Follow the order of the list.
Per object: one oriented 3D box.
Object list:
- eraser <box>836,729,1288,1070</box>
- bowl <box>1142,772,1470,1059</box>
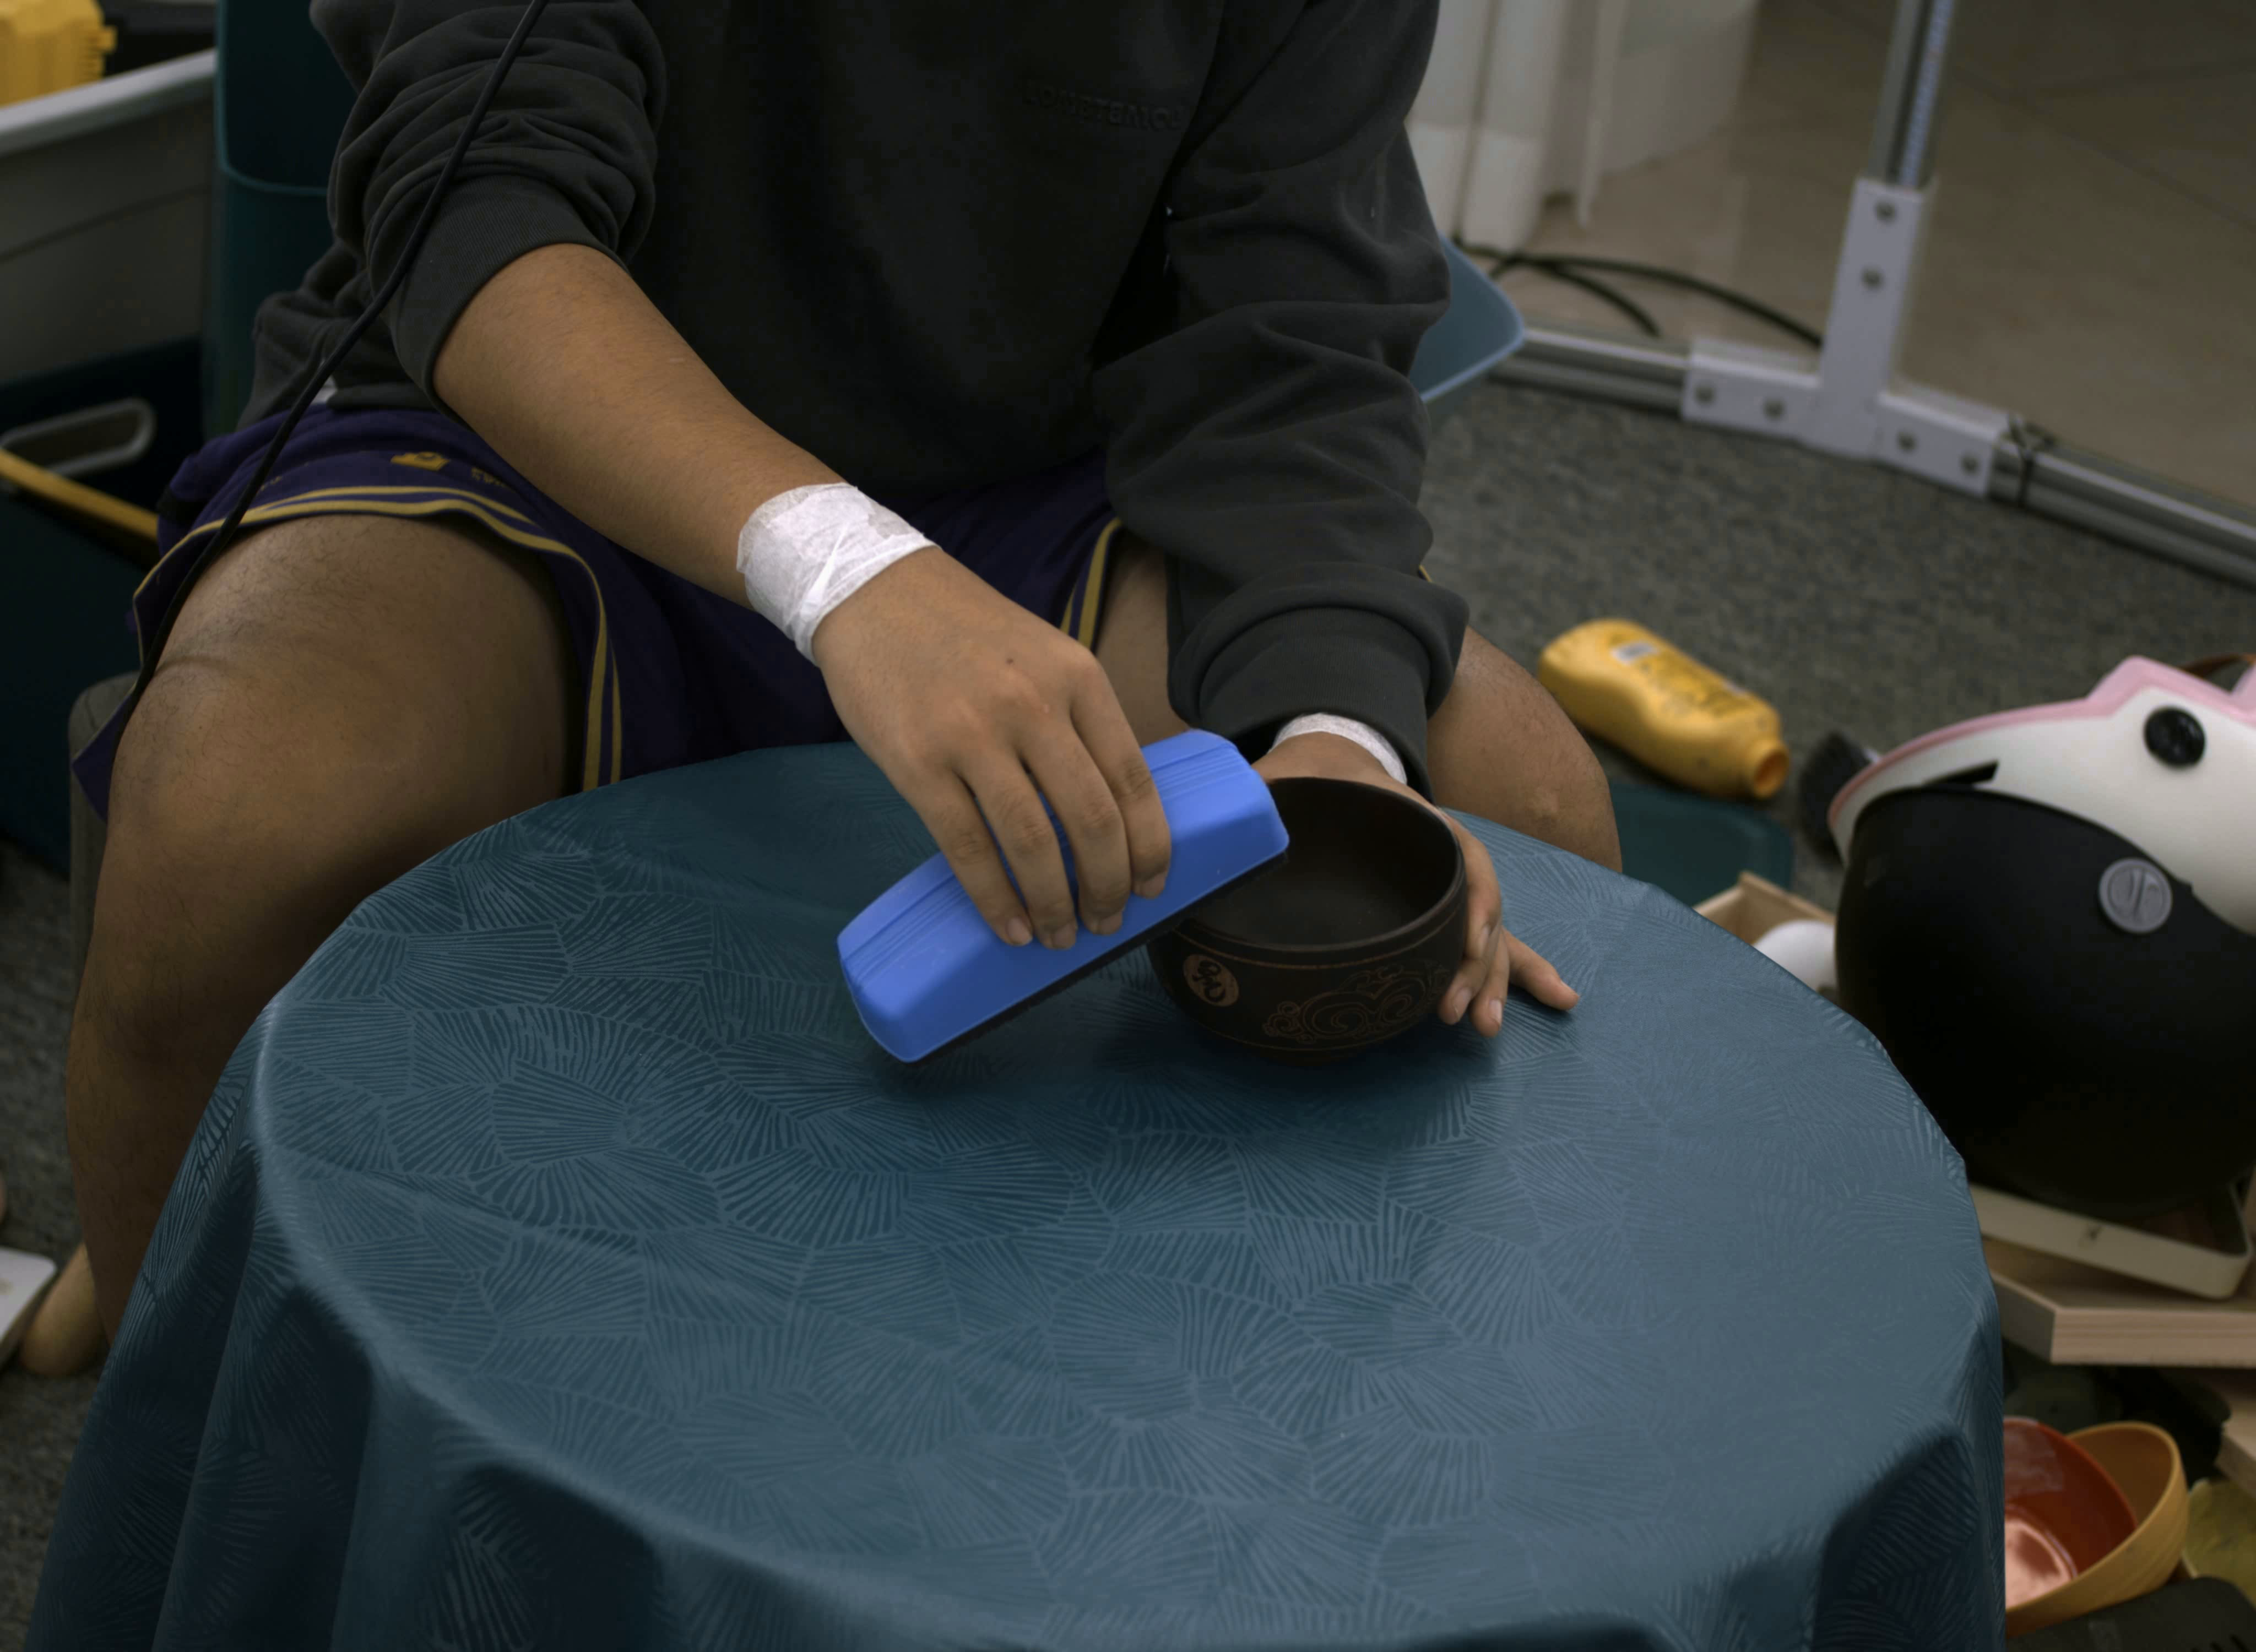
[{"bbox_3d":[-0.024,0.021,1.845,0.162,0.047,0.054,-30,44,-9],"label":"eraser"},{"bbox_3d":[0.063,0.039,1.893,0.118,0.069,0.119,-3,31,1],"label":"bowl"}]
